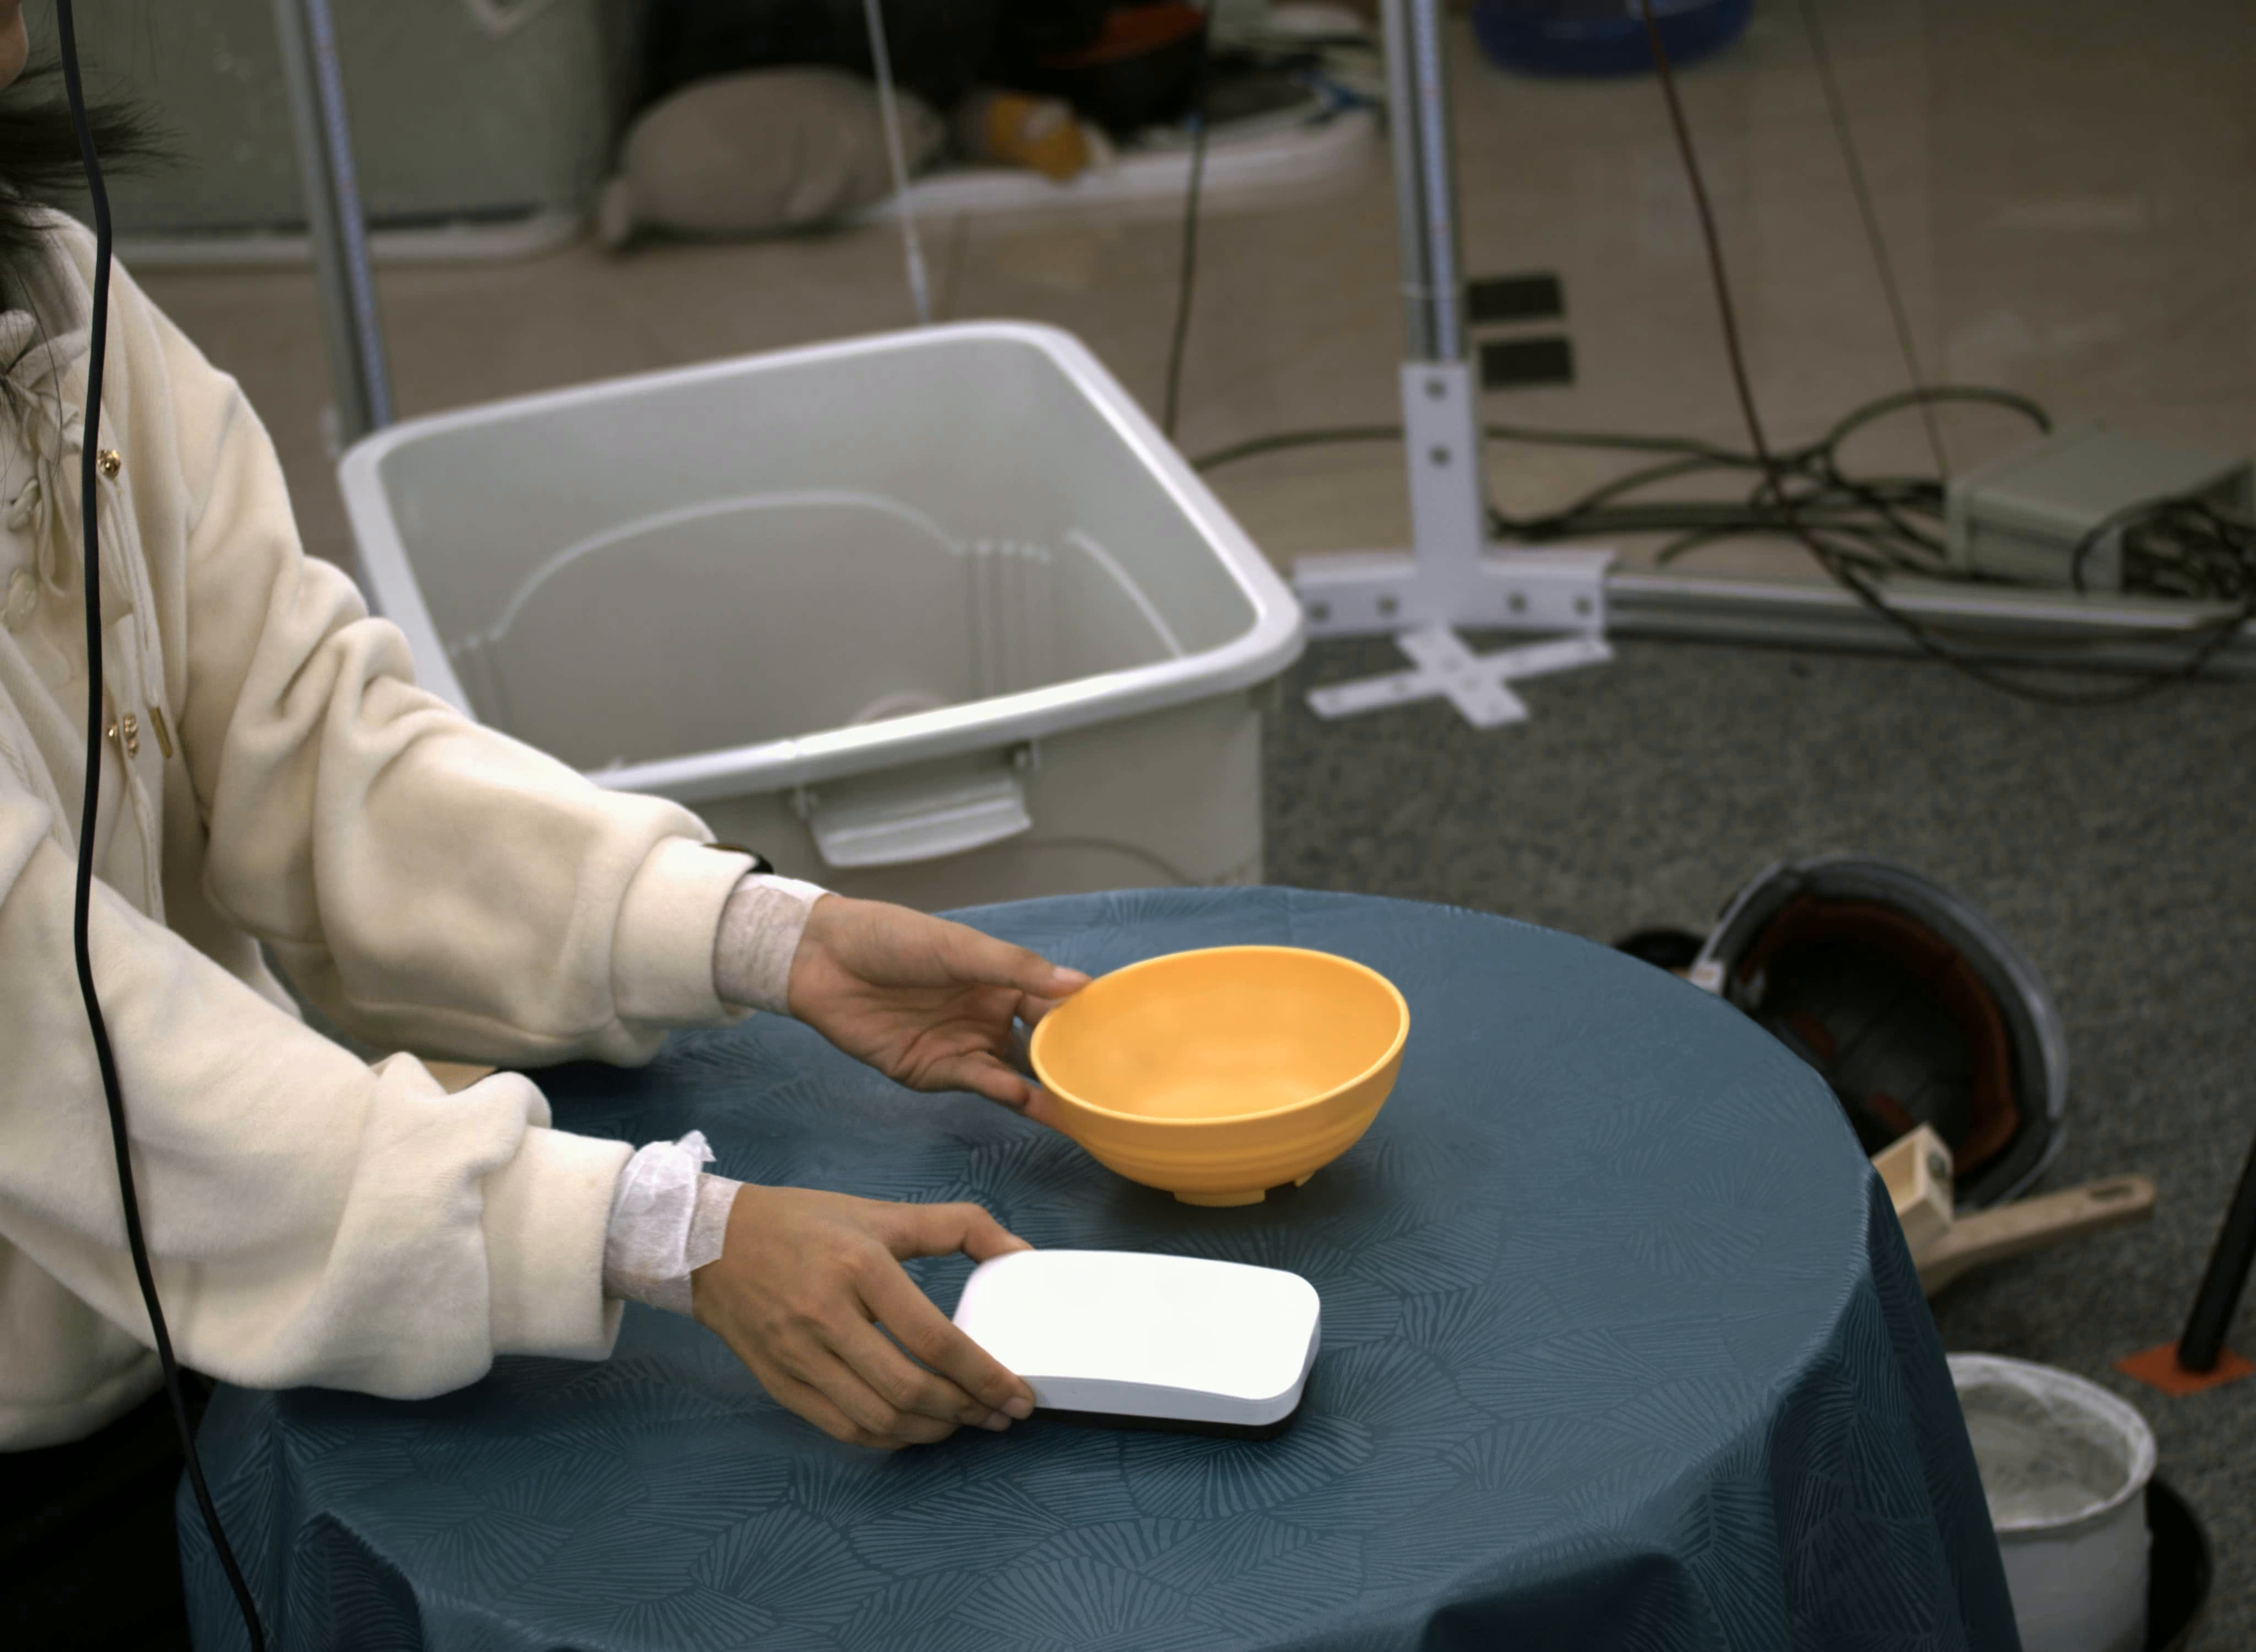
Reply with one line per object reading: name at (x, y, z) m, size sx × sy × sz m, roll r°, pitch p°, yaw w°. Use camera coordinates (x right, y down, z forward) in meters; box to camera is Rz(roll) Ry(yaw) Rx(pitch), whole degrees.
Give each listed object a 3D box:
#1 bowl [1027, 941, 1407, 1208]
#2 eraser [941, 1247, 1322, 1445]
bowl at (0.035, 0.103, 2.148) m, size 0.145 × 0.061 × 0.143 m, roll -4°, pitch 27°, yaw 2°
eraser at (0.002, 0.183, 2.000) m, size 0.131 × 0.035 × 0.062 m, roll 4°, pitch 40°, yaw 17°
